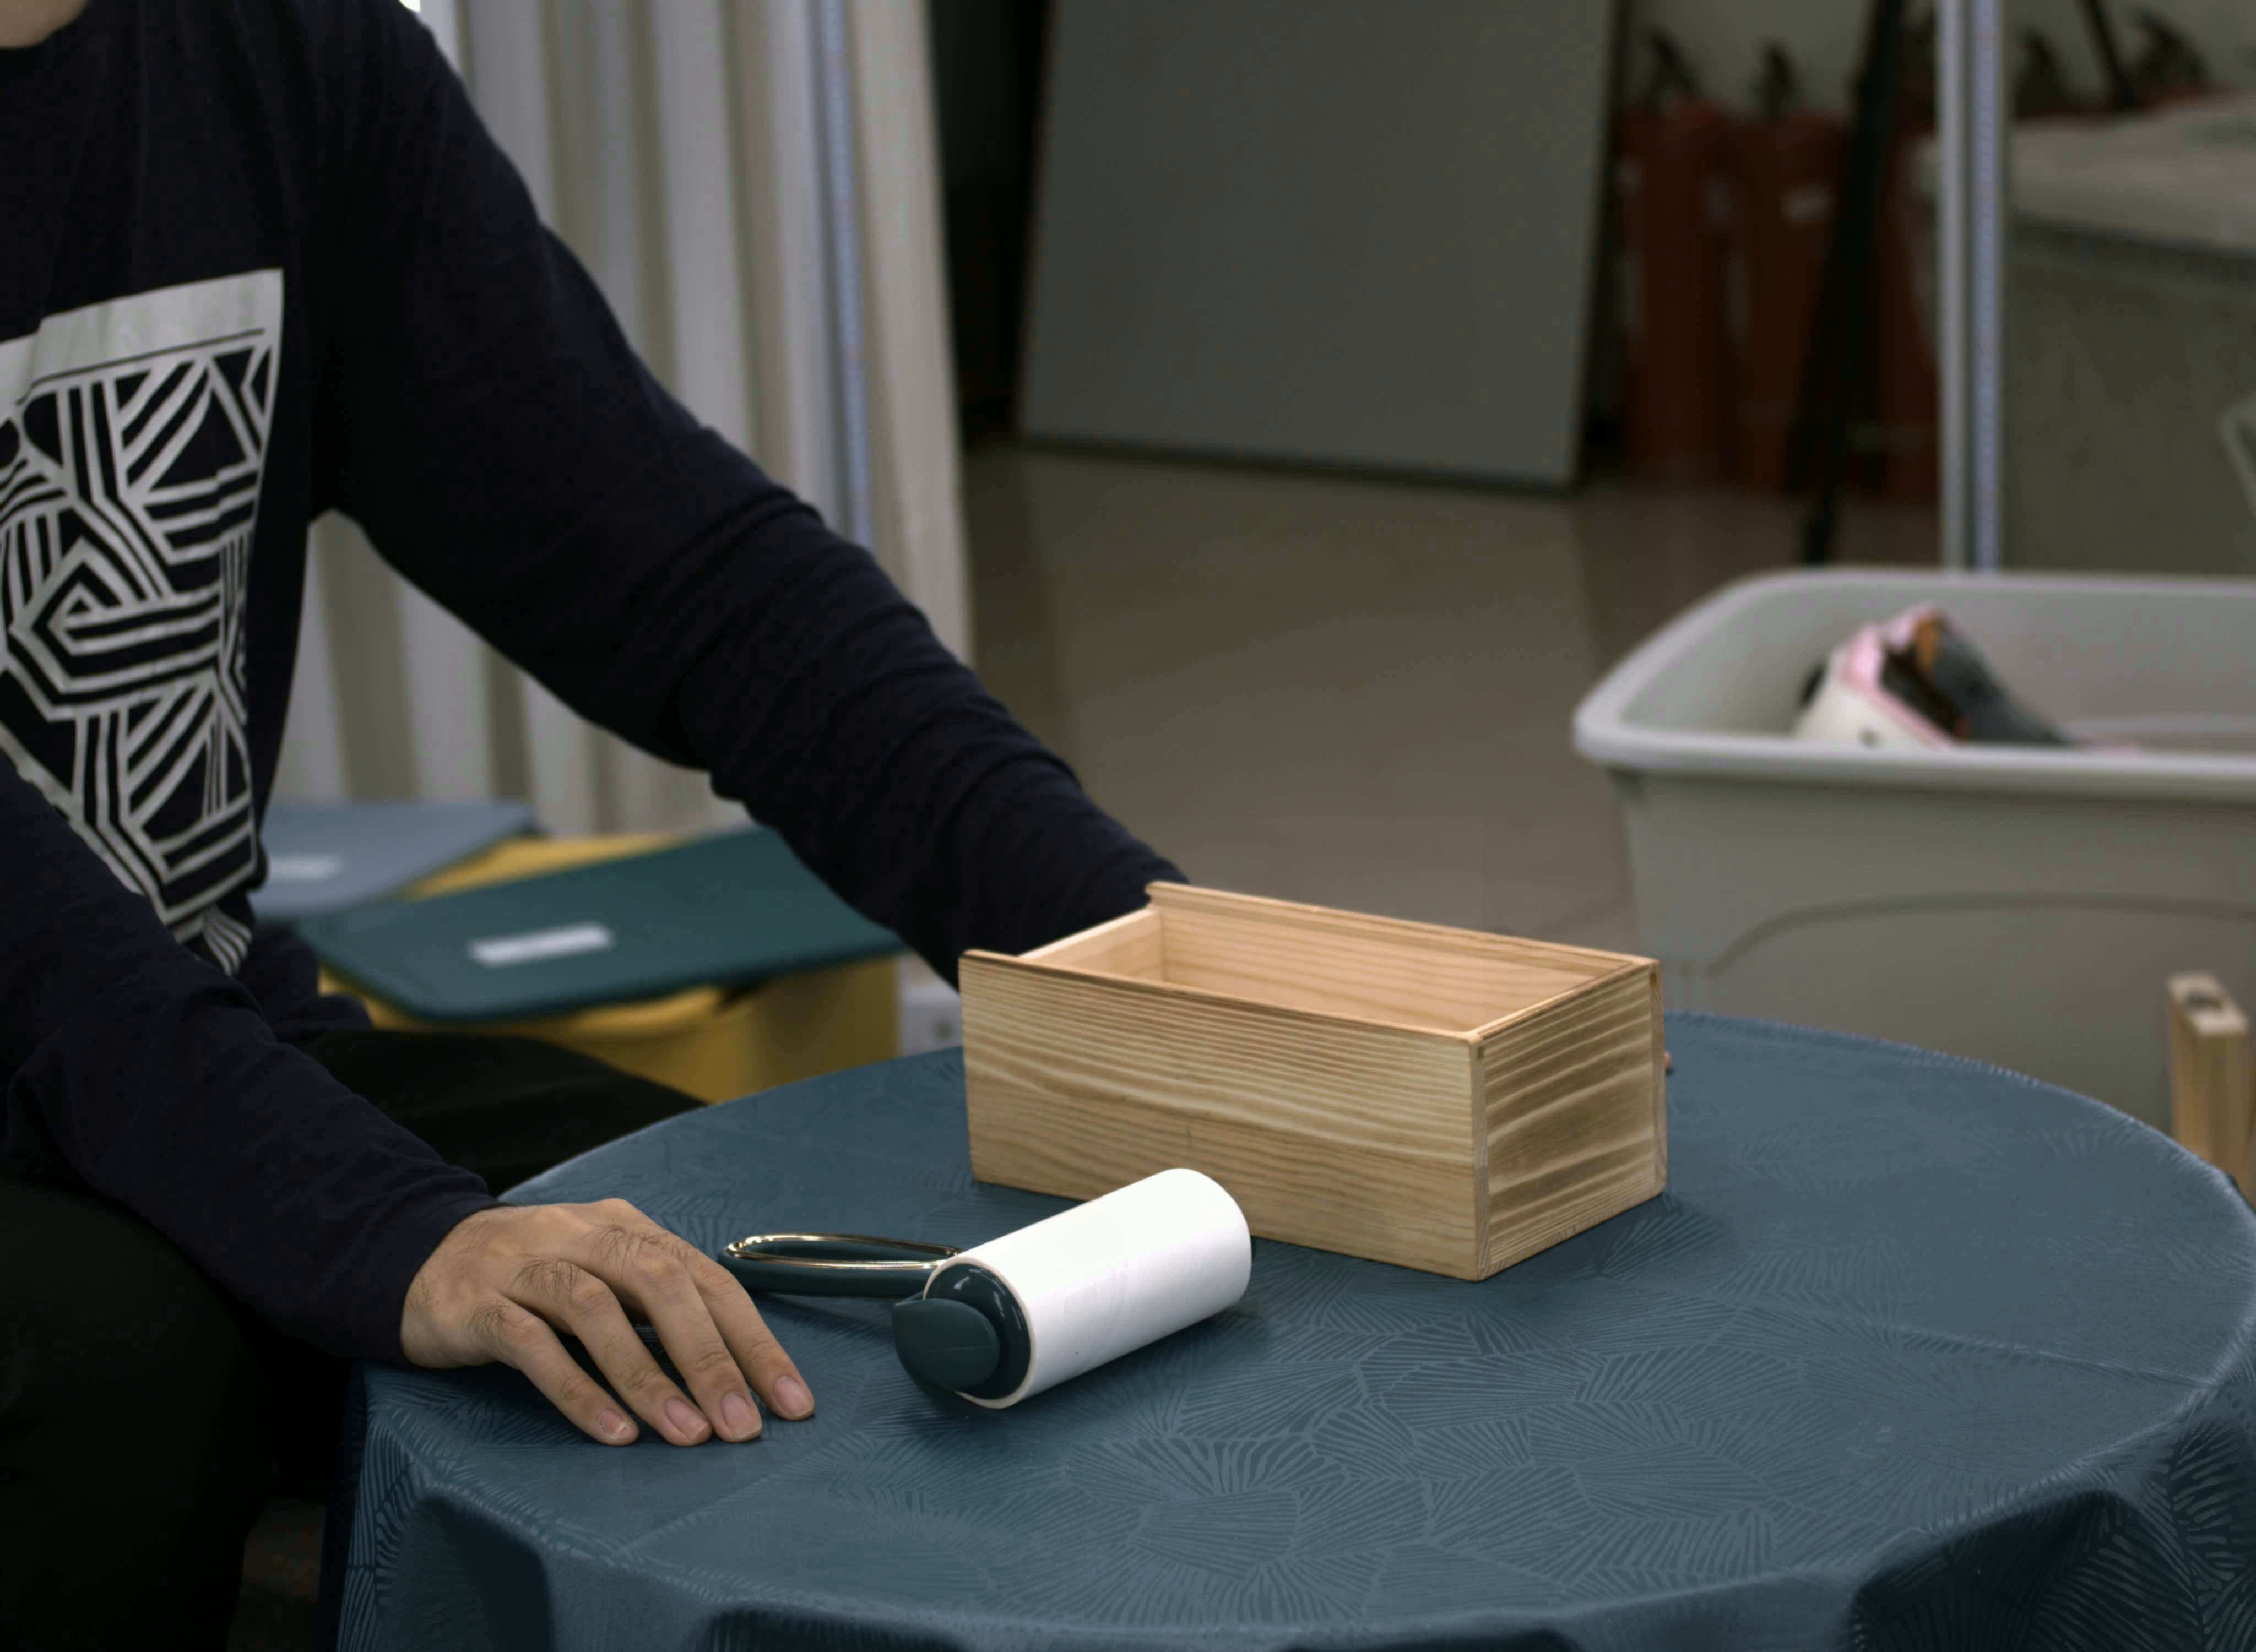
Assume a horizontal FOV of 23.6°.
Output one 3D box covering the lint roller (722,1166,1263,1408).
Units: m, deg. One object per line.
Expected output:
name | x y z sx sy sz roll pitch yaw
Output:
lint roller | -0.061 0.135 1.656 0.181 0.049 0.131 2 15 43

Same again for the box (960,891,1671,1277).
box | 0.060 0.081 1.755 0.213 0.081 0.105 5 17 40
